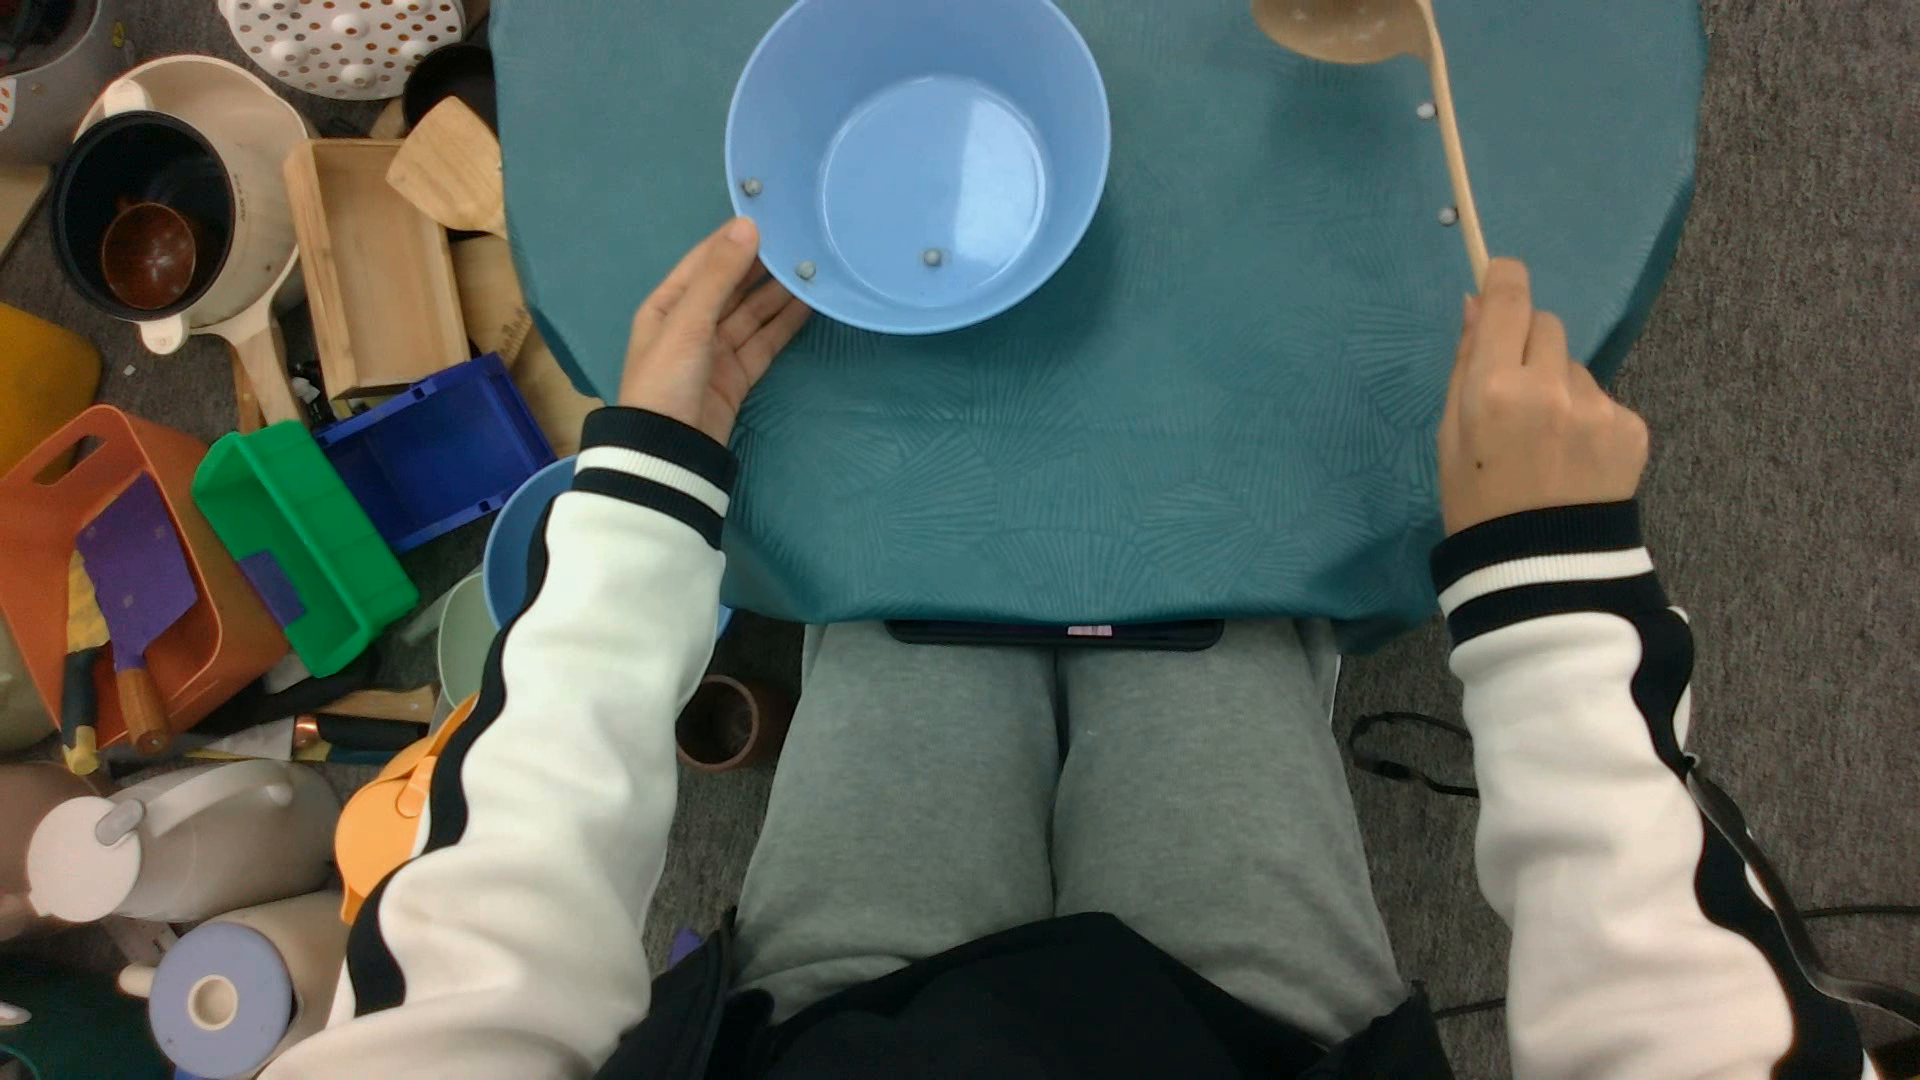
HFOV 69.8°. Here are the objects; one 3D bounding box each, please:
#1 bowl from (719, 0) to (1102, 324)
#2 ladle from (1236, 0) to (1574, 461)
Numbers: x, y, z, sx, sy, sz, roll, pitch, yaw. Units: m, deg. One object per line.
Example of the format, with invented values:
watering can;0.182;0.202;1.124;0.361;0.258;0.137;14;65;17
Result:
bowl;-0.020;-0.180;0.654;0.176;0.070;0.176;-1;83;7
ladle;0.179;-0.143;0.575;0.073;0.072;0.255;-11;72;-1
